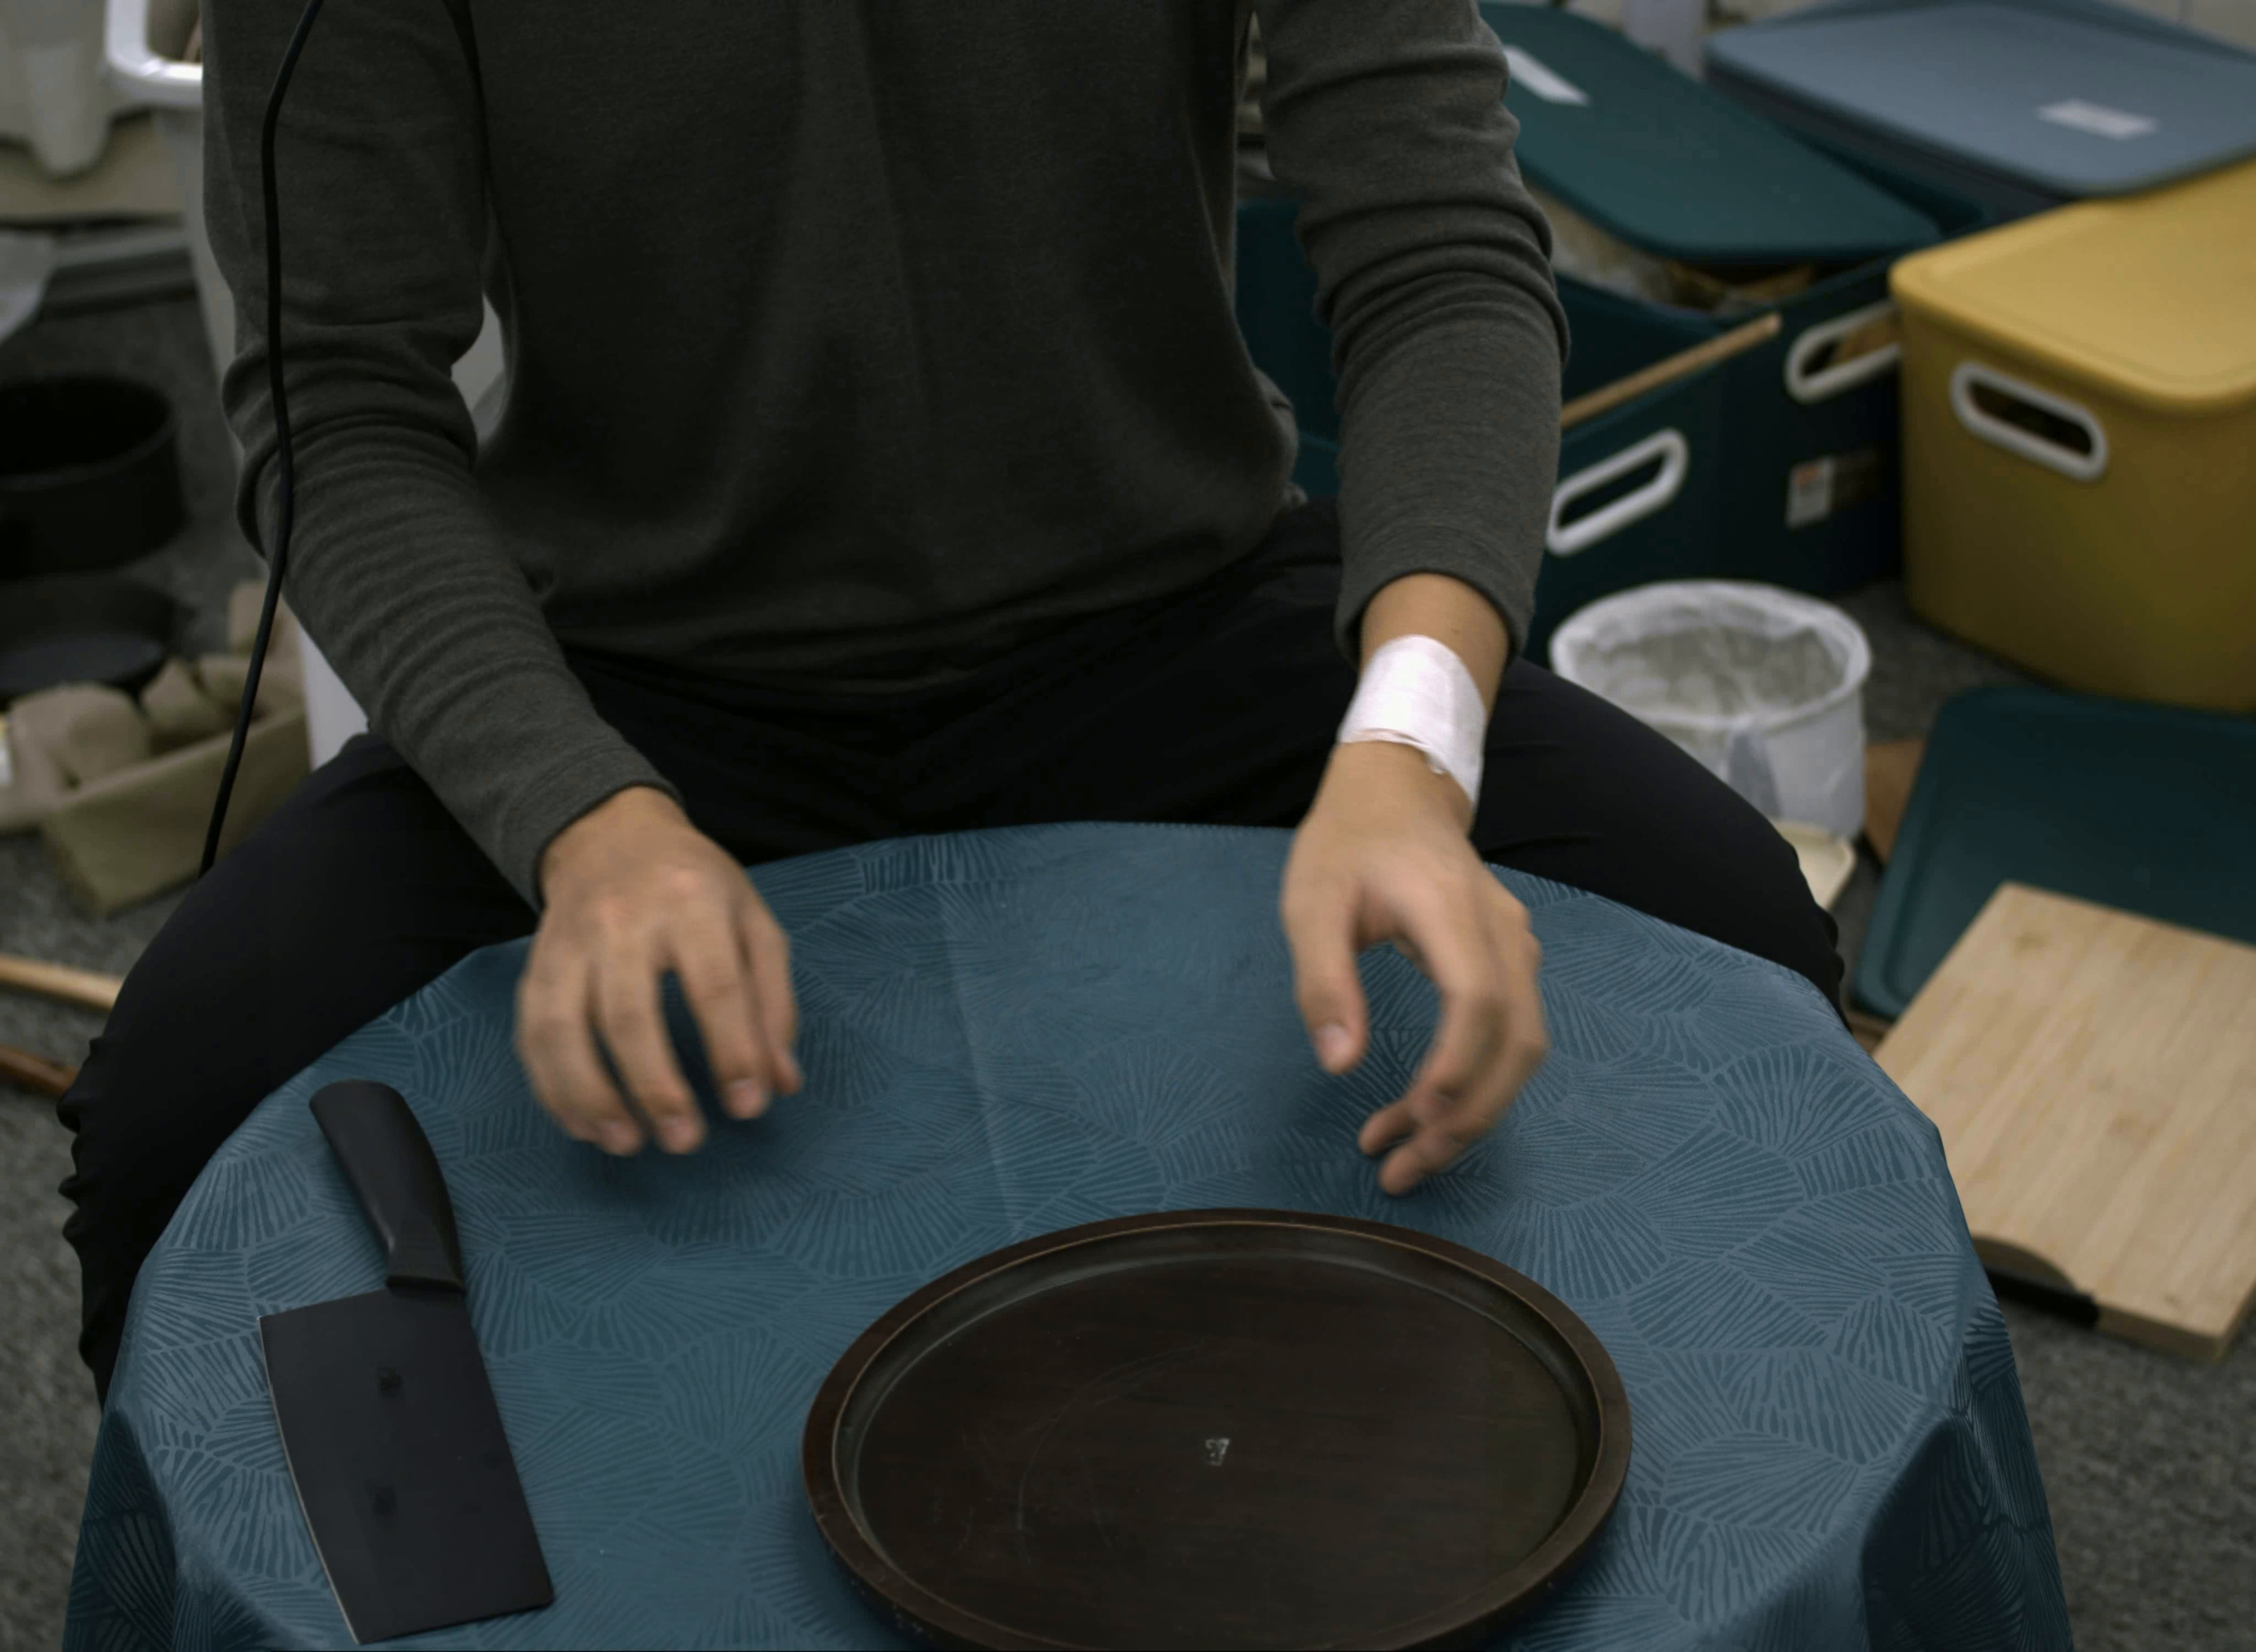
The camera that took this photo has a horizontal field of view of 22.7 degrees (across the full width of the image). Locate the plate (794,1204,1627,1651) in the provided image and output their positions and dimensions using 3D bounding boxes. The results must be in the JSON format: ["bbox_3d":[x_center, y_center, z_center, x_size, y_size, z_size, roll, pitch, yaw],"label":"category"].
[{"bbox_3d":[0.025,0.190,1.701,0.253,0.029,0.259,-3,28,2],"label":"plate"}]

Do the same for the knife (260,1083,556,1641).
[{"bbox_3d":[-0.236,0.166,1.784,0.081,0.020,0.306,-8,29,-8],"label":"knife"}]
